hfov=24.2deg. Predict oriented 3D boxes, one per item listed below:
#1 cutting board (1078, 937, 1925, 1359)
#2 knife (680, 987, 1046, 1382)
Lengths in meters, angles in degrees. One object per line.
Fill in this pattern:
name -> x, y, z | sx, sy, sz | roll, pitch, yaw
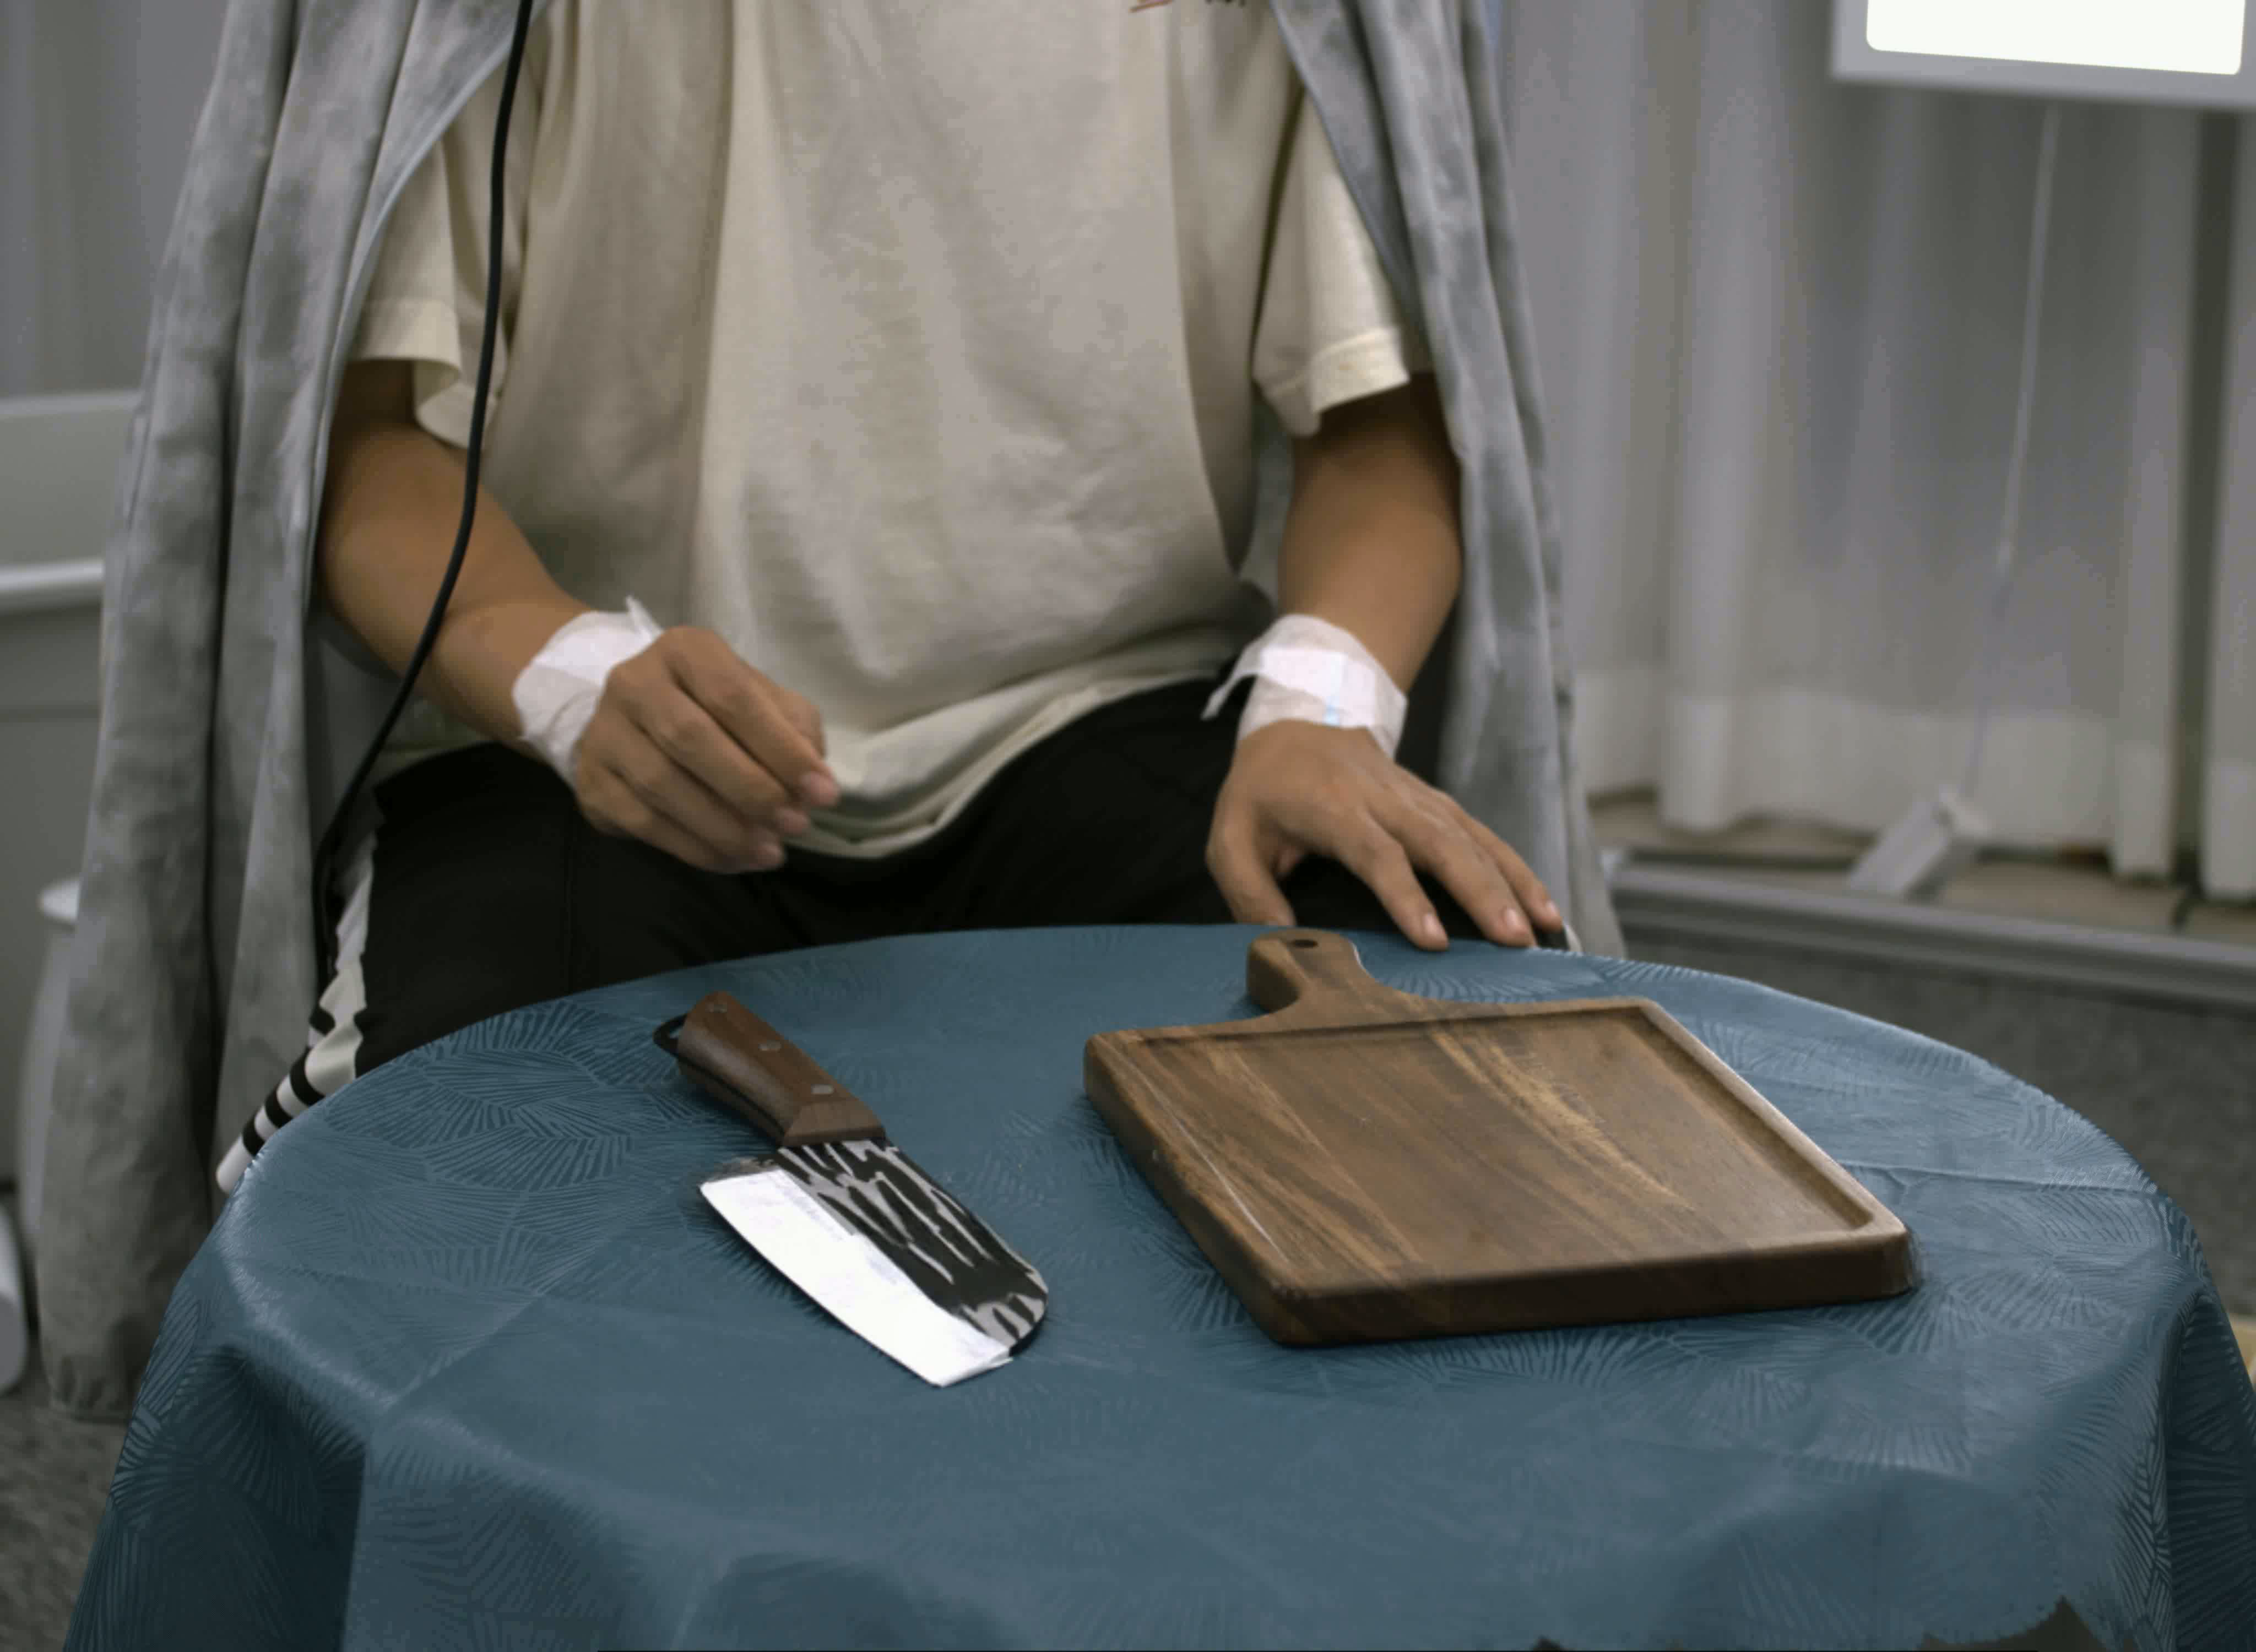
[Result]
cutting board -> 0.097, 0.091, 1.675 | 0.201, 0.023, 0.349 | -5, 16, -14
knife -> -0.094, 0.108, 1.601 | 0.068, 0.024, 0.296 | -8, 21, -23
